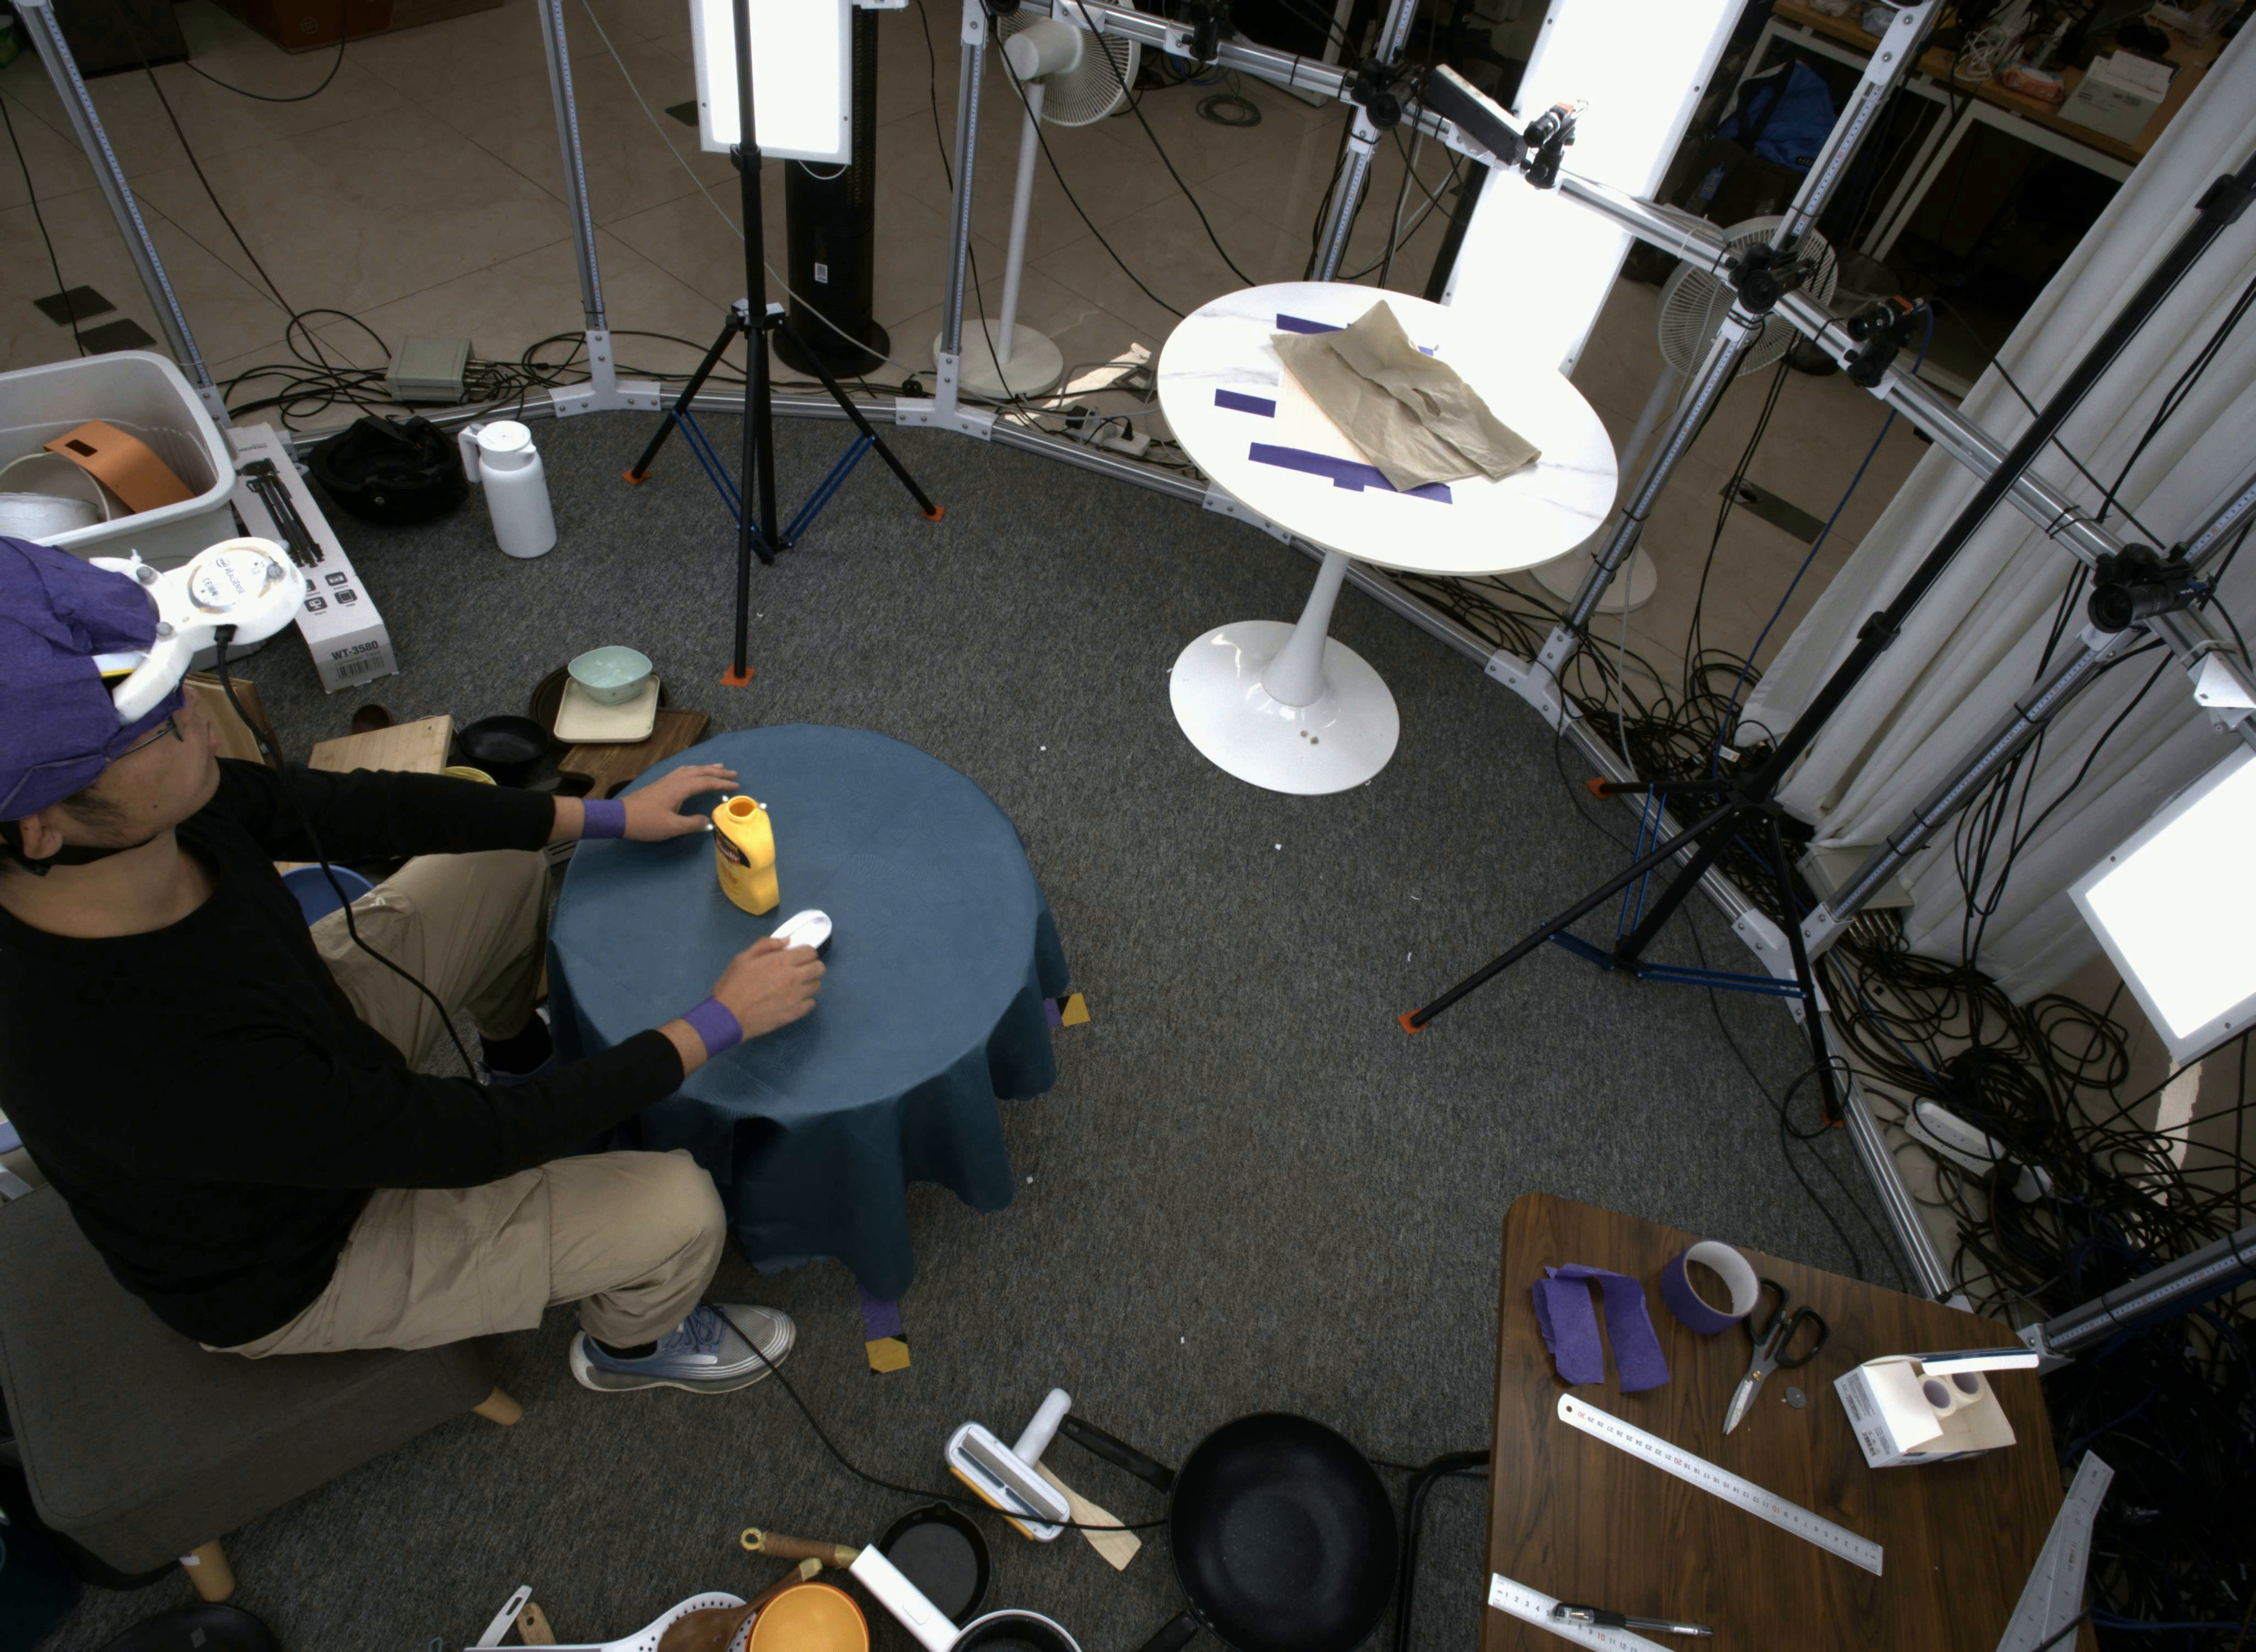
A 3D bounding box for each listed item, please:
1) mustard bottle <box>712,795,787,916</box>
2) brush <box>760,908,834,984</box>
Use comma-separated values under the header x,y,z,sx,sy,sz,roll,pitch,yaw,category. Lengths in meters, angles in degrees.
x,y,z,sx,sy,sz,roll,pitch,yaw,category
-0.467,0.028,1.588,0.096,0.175,0.059,38,59,16,mustard bottle
-0.405,0.137,1.583,0.049,0.074,0.099,38,53,19,brush
